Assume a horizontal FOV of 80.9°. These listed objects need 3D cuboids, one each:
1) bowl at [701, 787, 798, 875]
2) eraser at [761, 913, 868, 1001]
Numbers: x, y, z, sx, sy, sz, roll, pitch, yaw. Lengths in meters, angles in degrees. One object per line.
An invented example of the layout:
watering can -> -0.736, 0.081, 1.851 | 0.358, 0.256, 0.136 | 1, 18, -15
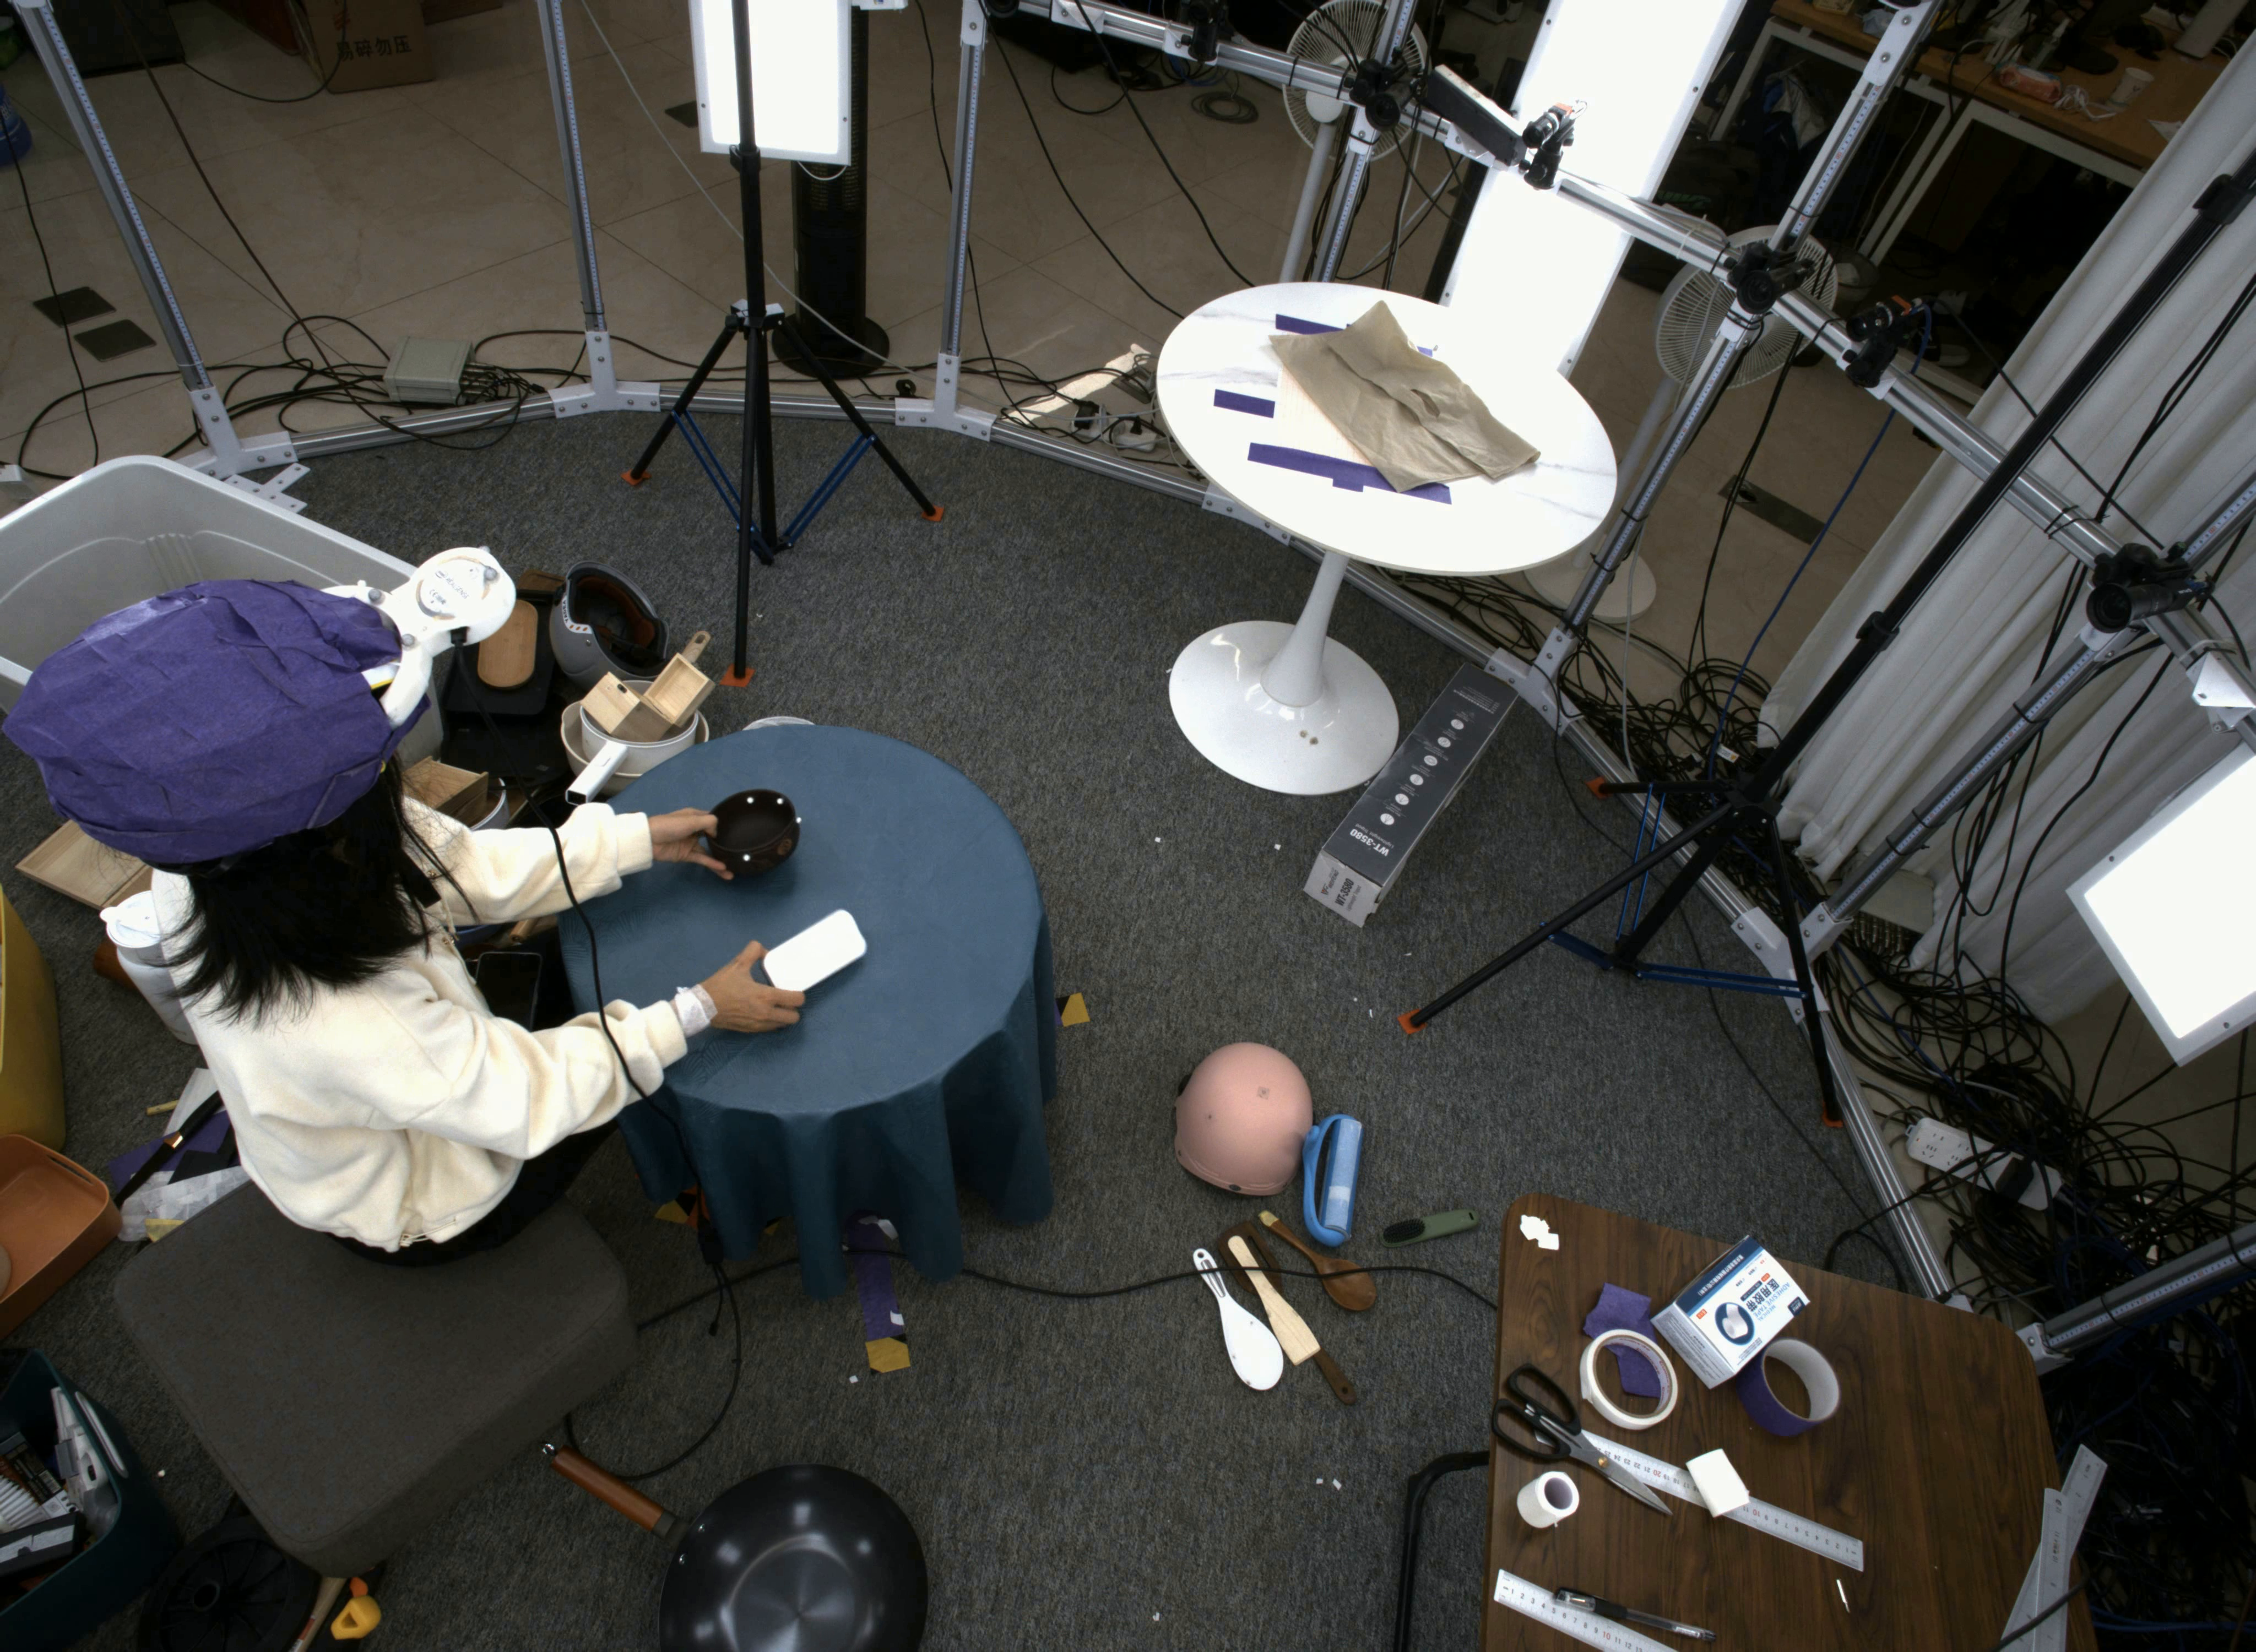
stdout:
bowl -> -0.473, 0.014, 1.635 | 0.116, 0.072, 0.115 | -2, 43, 3
eraser -> -0.380, 0.156, 1.572 | 0.132, 0.034, 0.064 | -32, 98, -38
